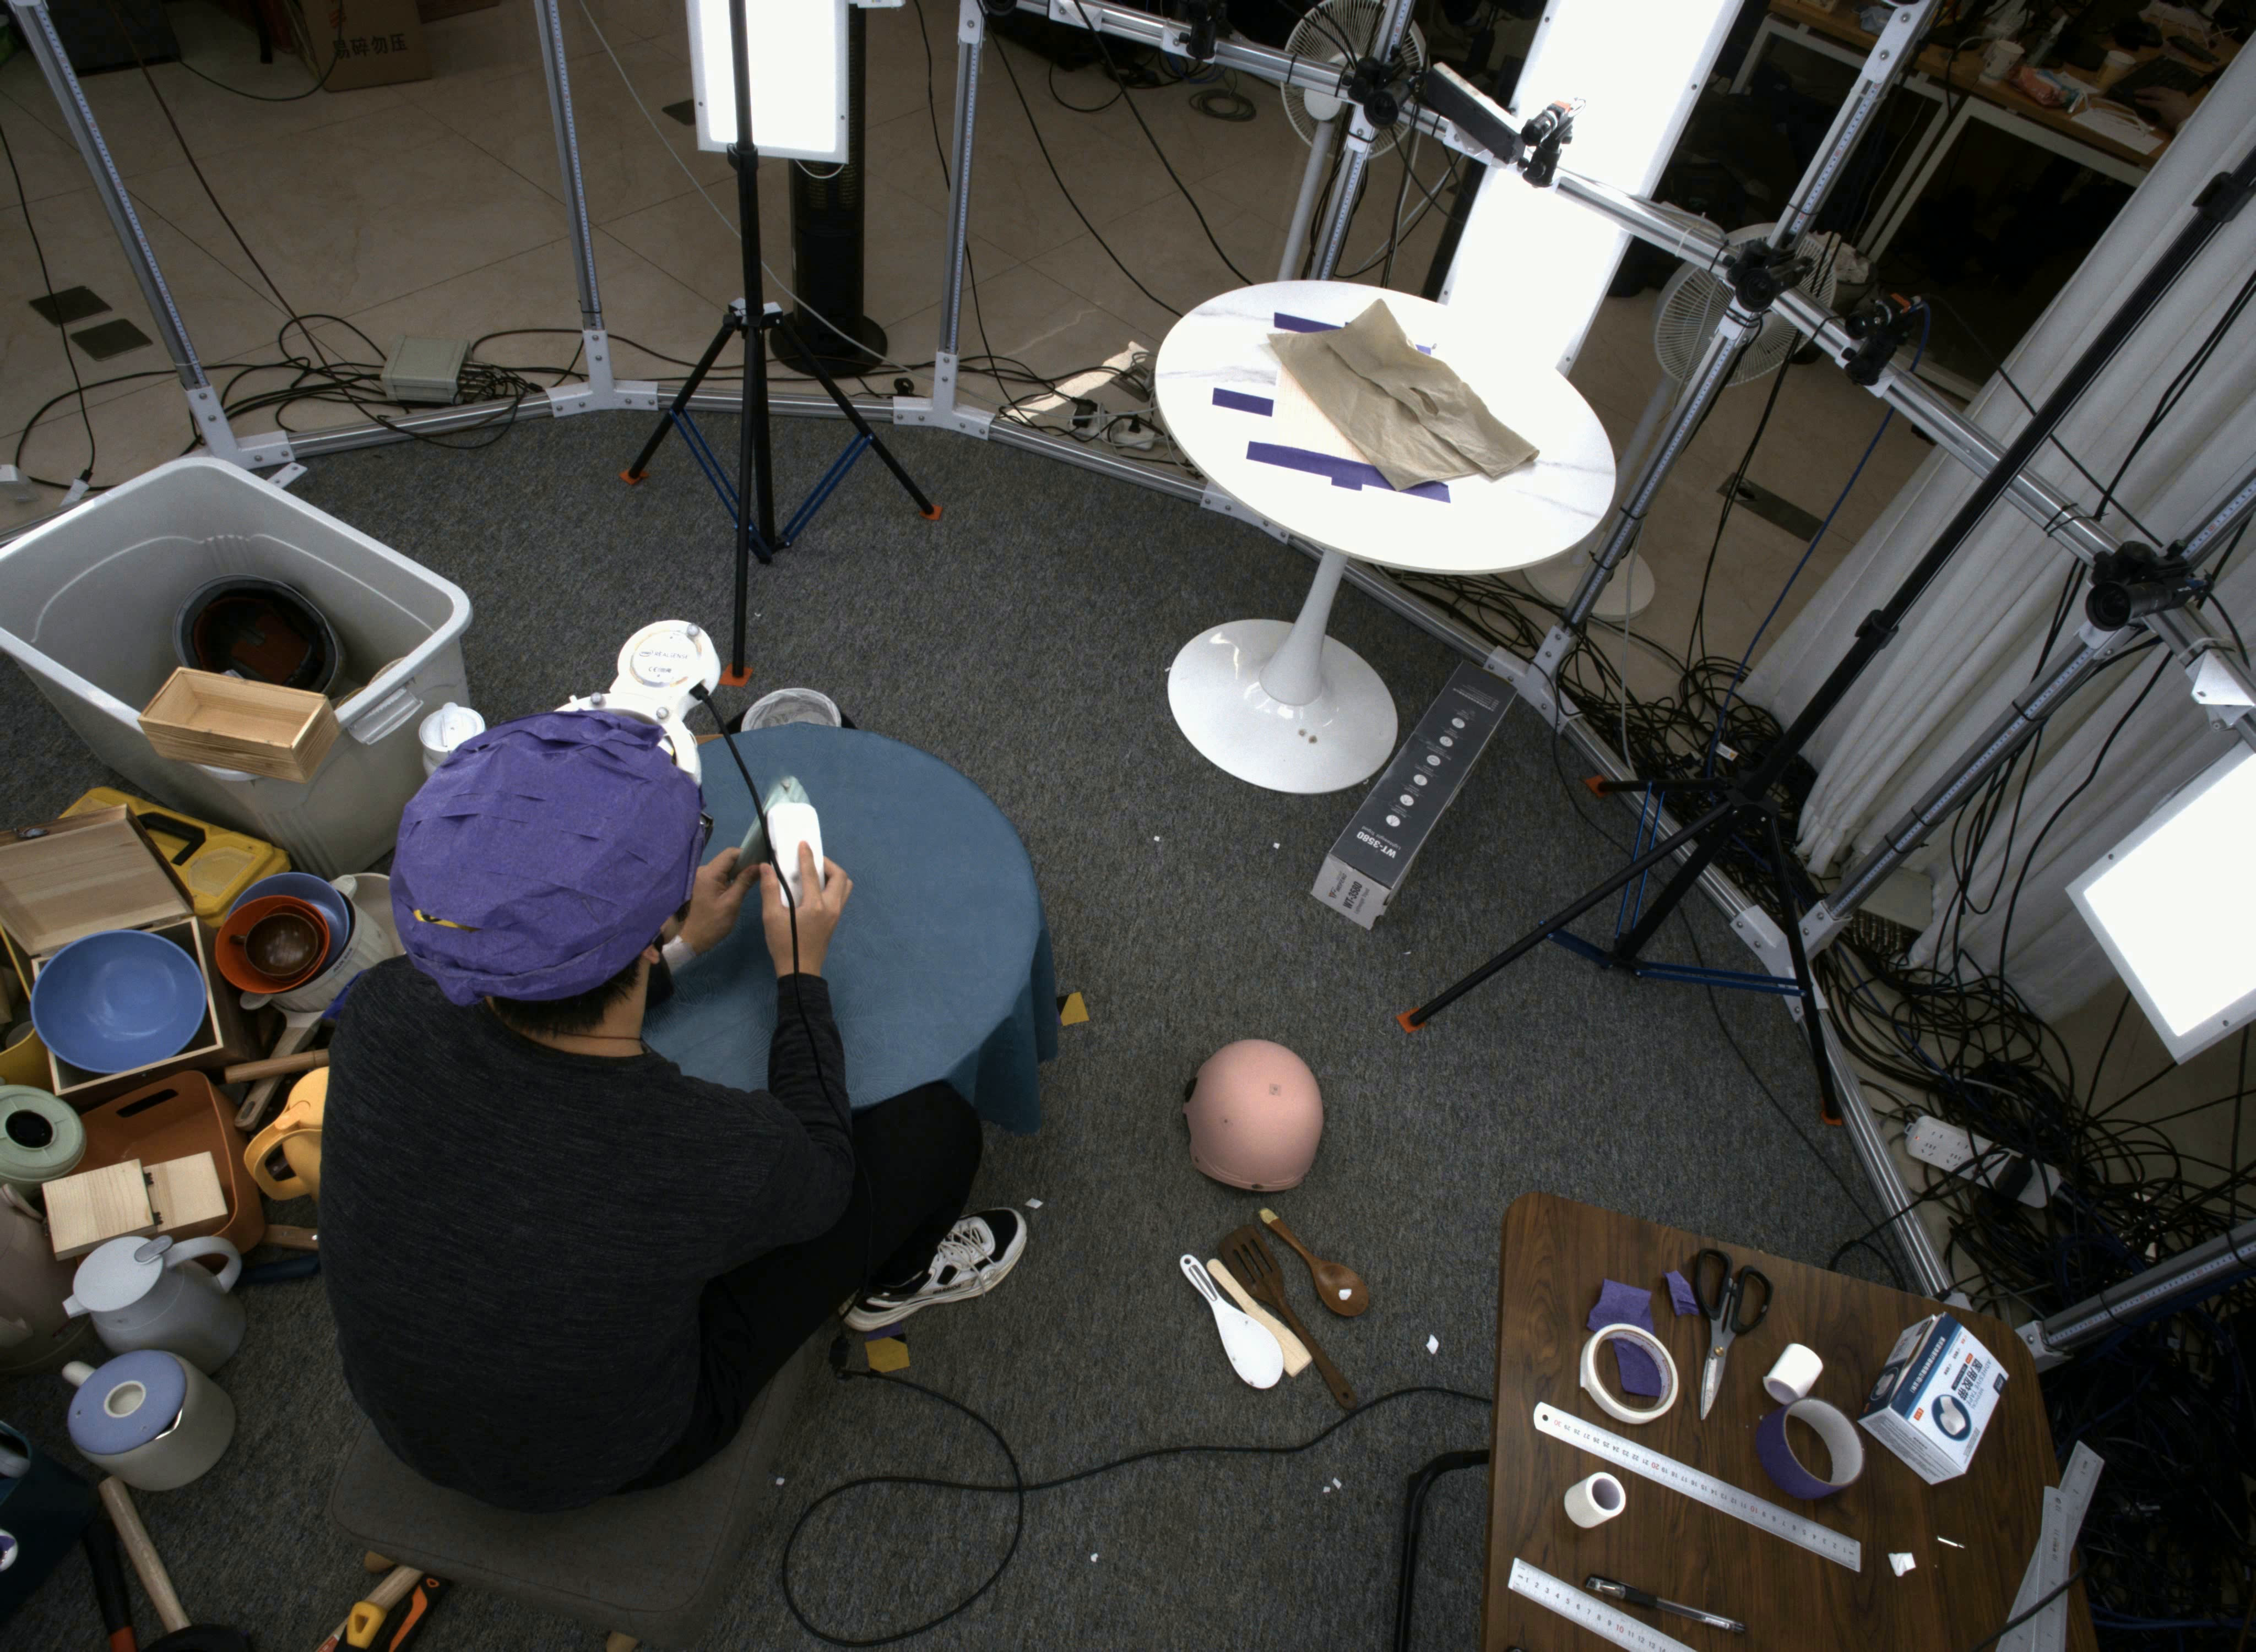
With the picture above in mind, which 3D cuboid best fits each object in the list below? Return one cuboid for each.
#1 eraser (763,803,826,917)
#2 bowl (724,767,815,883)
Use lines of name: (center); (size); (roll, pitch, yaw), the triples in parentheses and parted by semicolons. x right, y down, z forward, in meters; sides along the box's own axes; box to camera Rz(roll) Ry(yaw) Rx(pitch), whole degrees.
eraser: (-0.387, 0.039, 1.501); (0.065, 0.033, 0.132); (1, 79, -49)
bowl: (-0.429, 0.008, 1.573); (0.059, 0.151, 0.149); (28, 49, -14)
